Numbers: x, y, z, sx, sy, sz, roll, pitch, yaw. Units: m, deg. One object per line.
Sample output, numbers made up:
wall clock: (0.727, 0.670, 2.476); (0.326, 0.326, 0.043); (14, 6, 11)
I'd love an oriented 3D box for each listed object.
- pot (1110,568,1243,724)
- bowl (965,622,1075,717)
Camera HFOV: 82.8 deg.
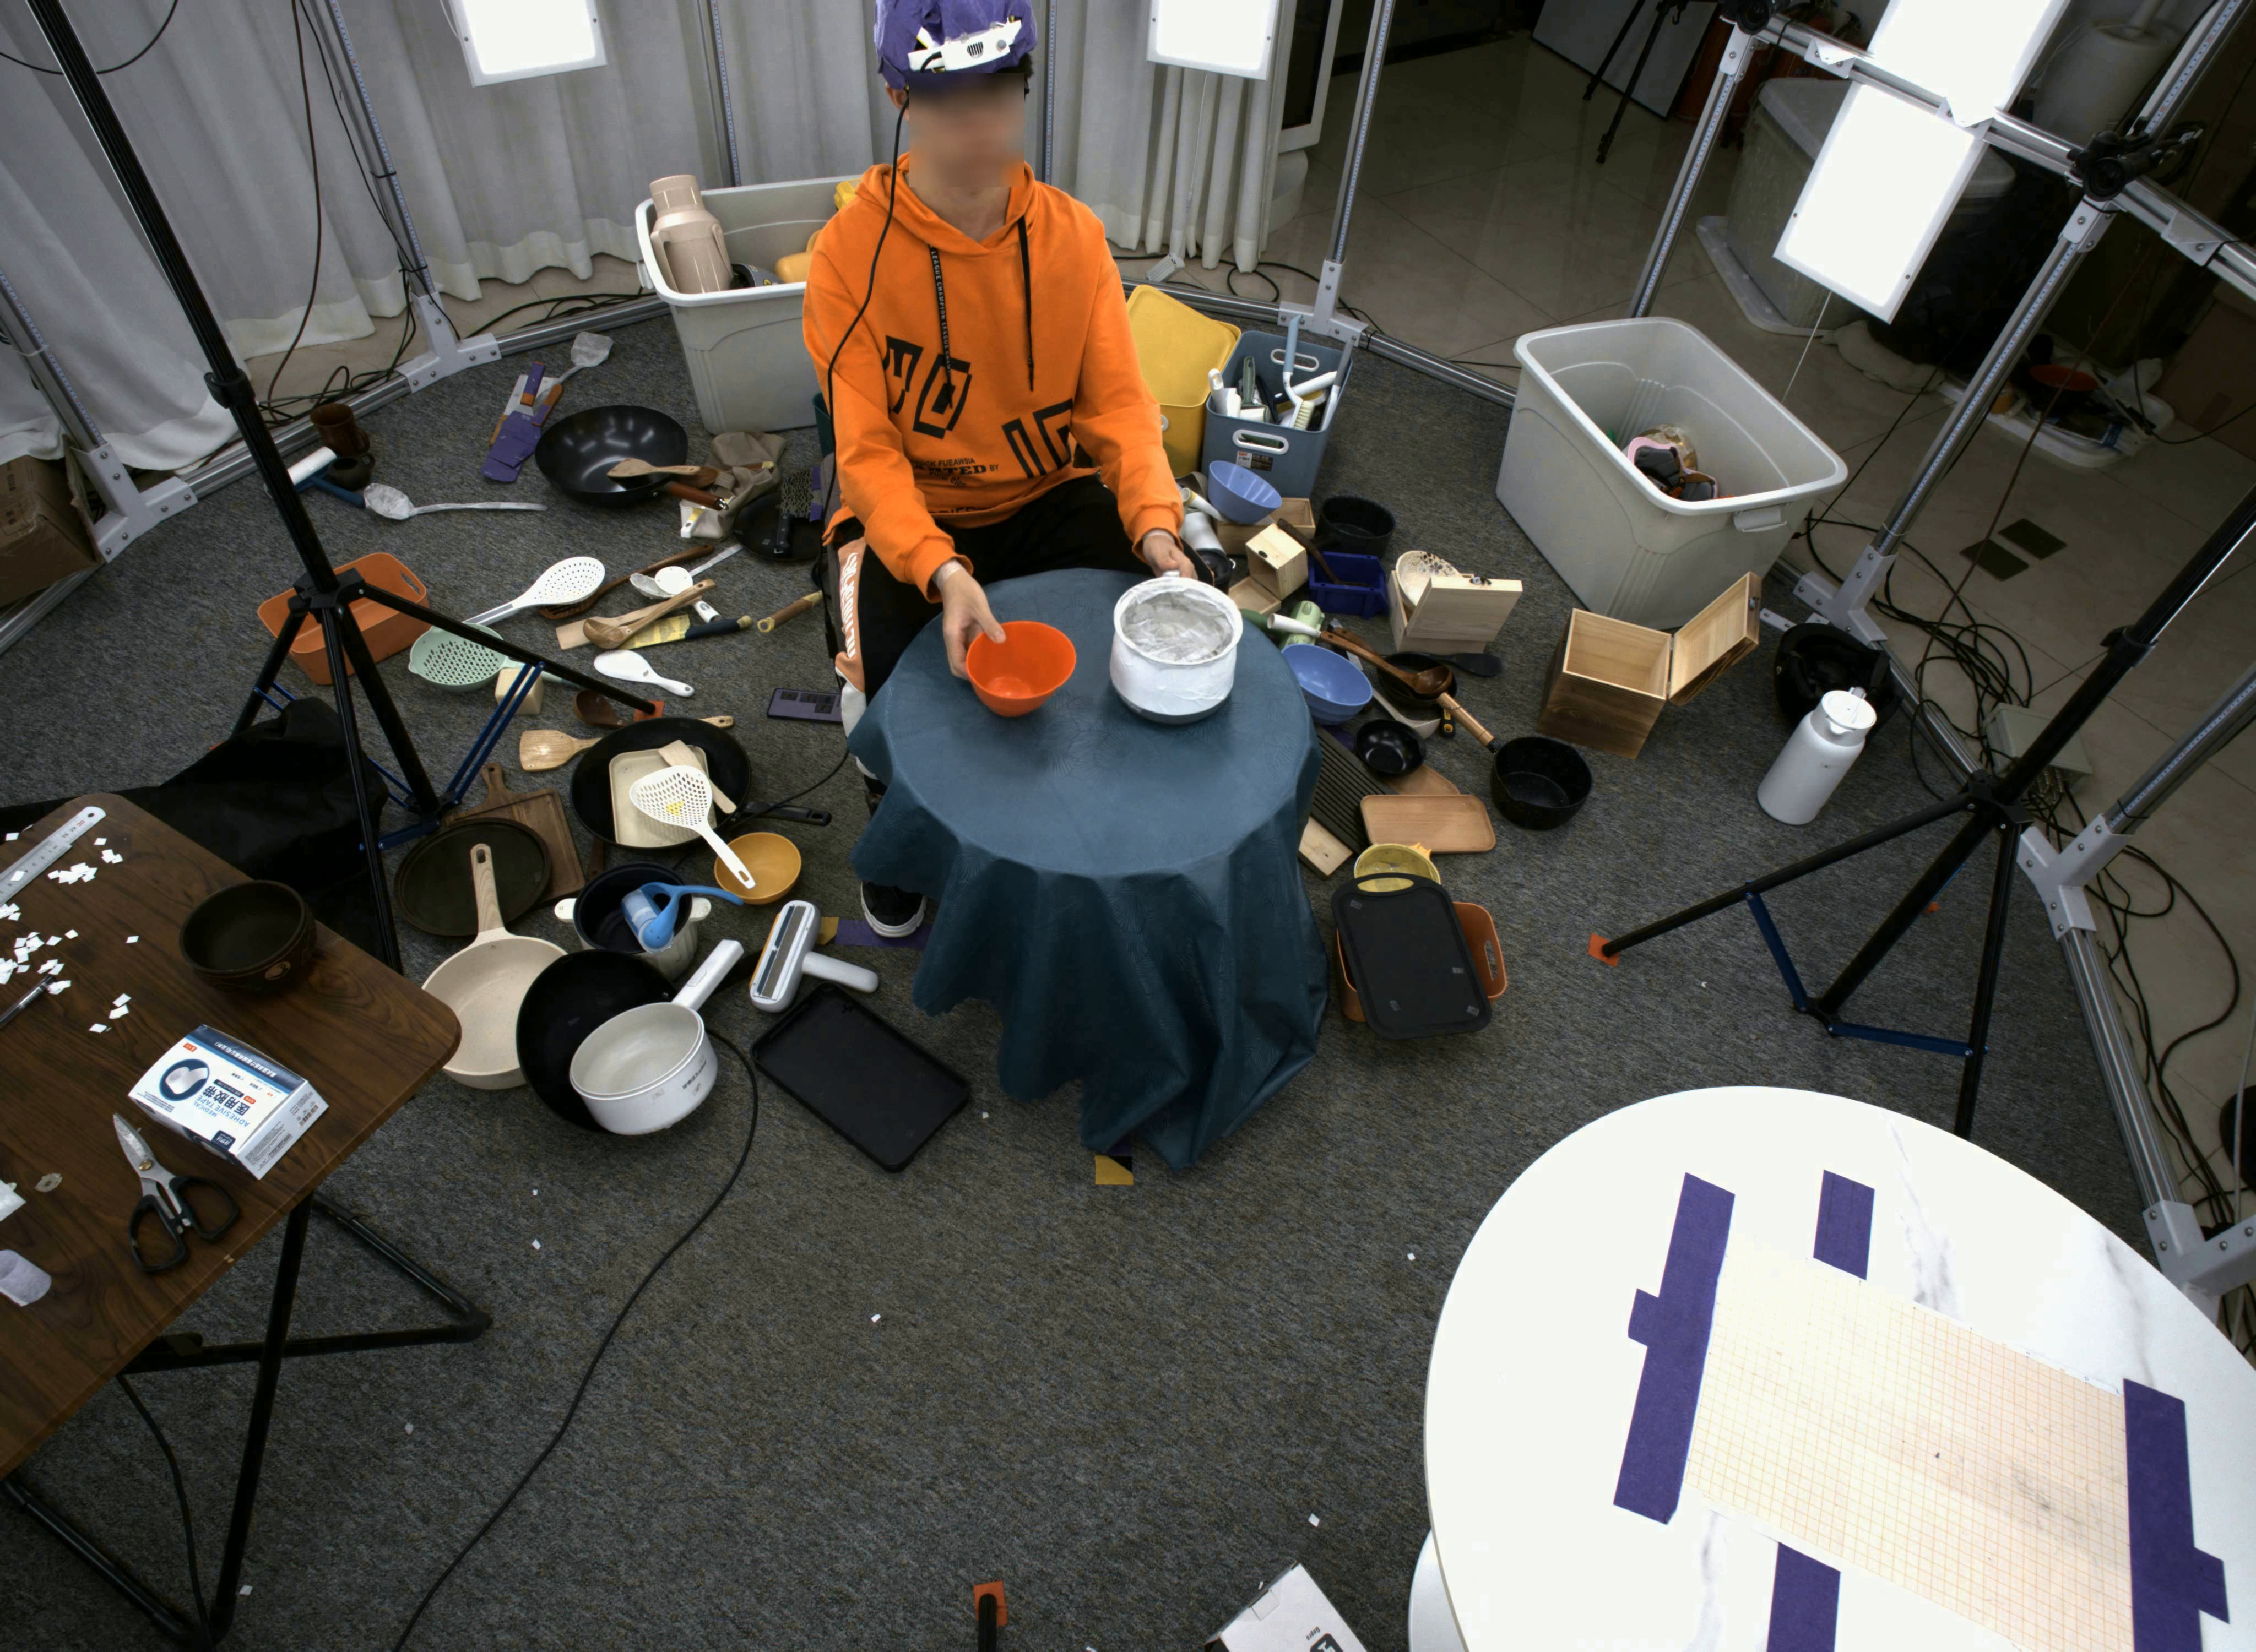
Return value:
pot: (0.062, -0.263, 1.812); (0.178, 0.133, 0.239); (-1, 50, -6)
bowl: (-0.150, -0.202, 1.760); (0.148, 0.102, 0.151); (4, 53, -5)
